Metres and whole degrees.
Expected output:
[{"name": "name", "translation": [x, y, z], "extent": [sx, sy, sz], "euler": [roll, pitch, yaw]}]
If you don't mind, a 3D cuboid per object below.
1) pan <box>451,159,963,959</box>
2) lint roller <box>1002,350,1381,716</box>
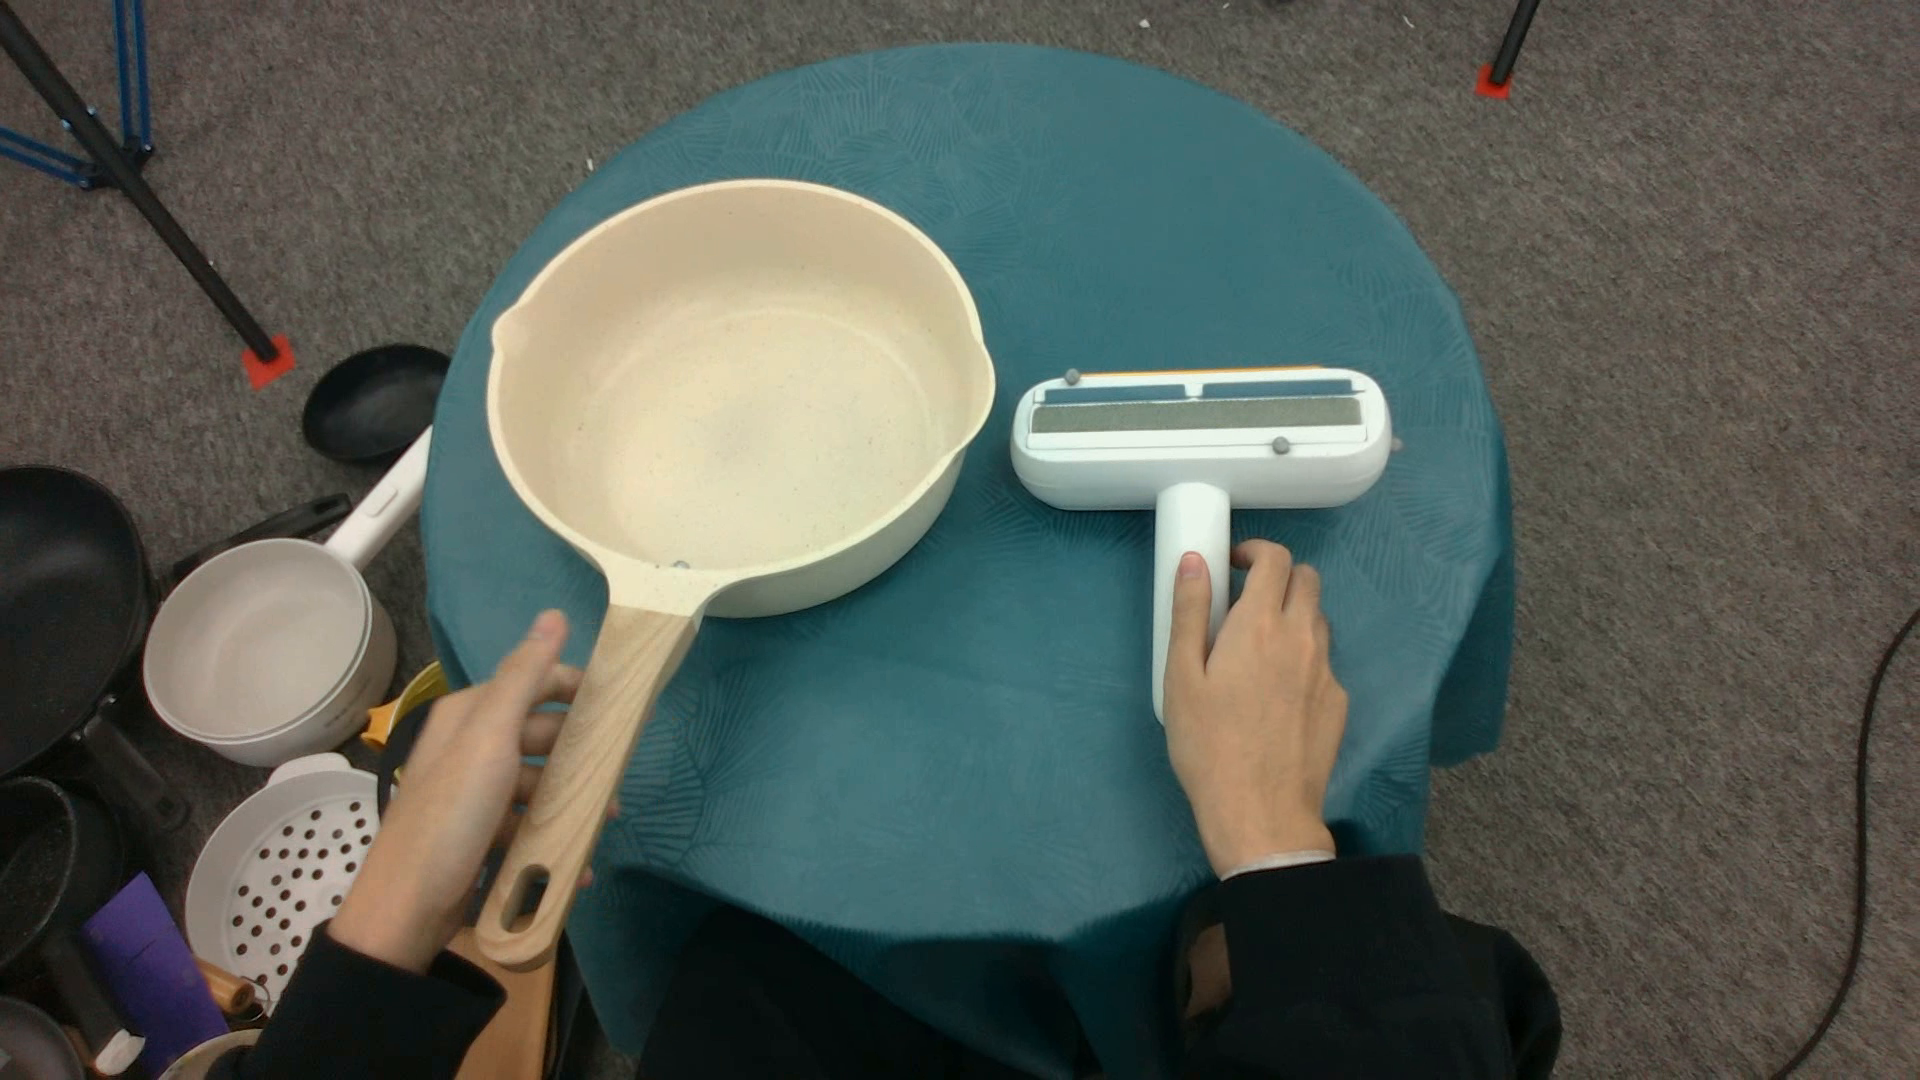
[{"name": "pan", "translation": [-0.146, -0.005, 0.681], "extent": [0.263, 0.101, 0.437], "euler": [10, 61, 3]}, {"name": "lint roller", "translation": [0.110, -0.009, 0.695], "extent": [0.193, 0.074, 0.193], "euler": [5, 62, 10]}]
